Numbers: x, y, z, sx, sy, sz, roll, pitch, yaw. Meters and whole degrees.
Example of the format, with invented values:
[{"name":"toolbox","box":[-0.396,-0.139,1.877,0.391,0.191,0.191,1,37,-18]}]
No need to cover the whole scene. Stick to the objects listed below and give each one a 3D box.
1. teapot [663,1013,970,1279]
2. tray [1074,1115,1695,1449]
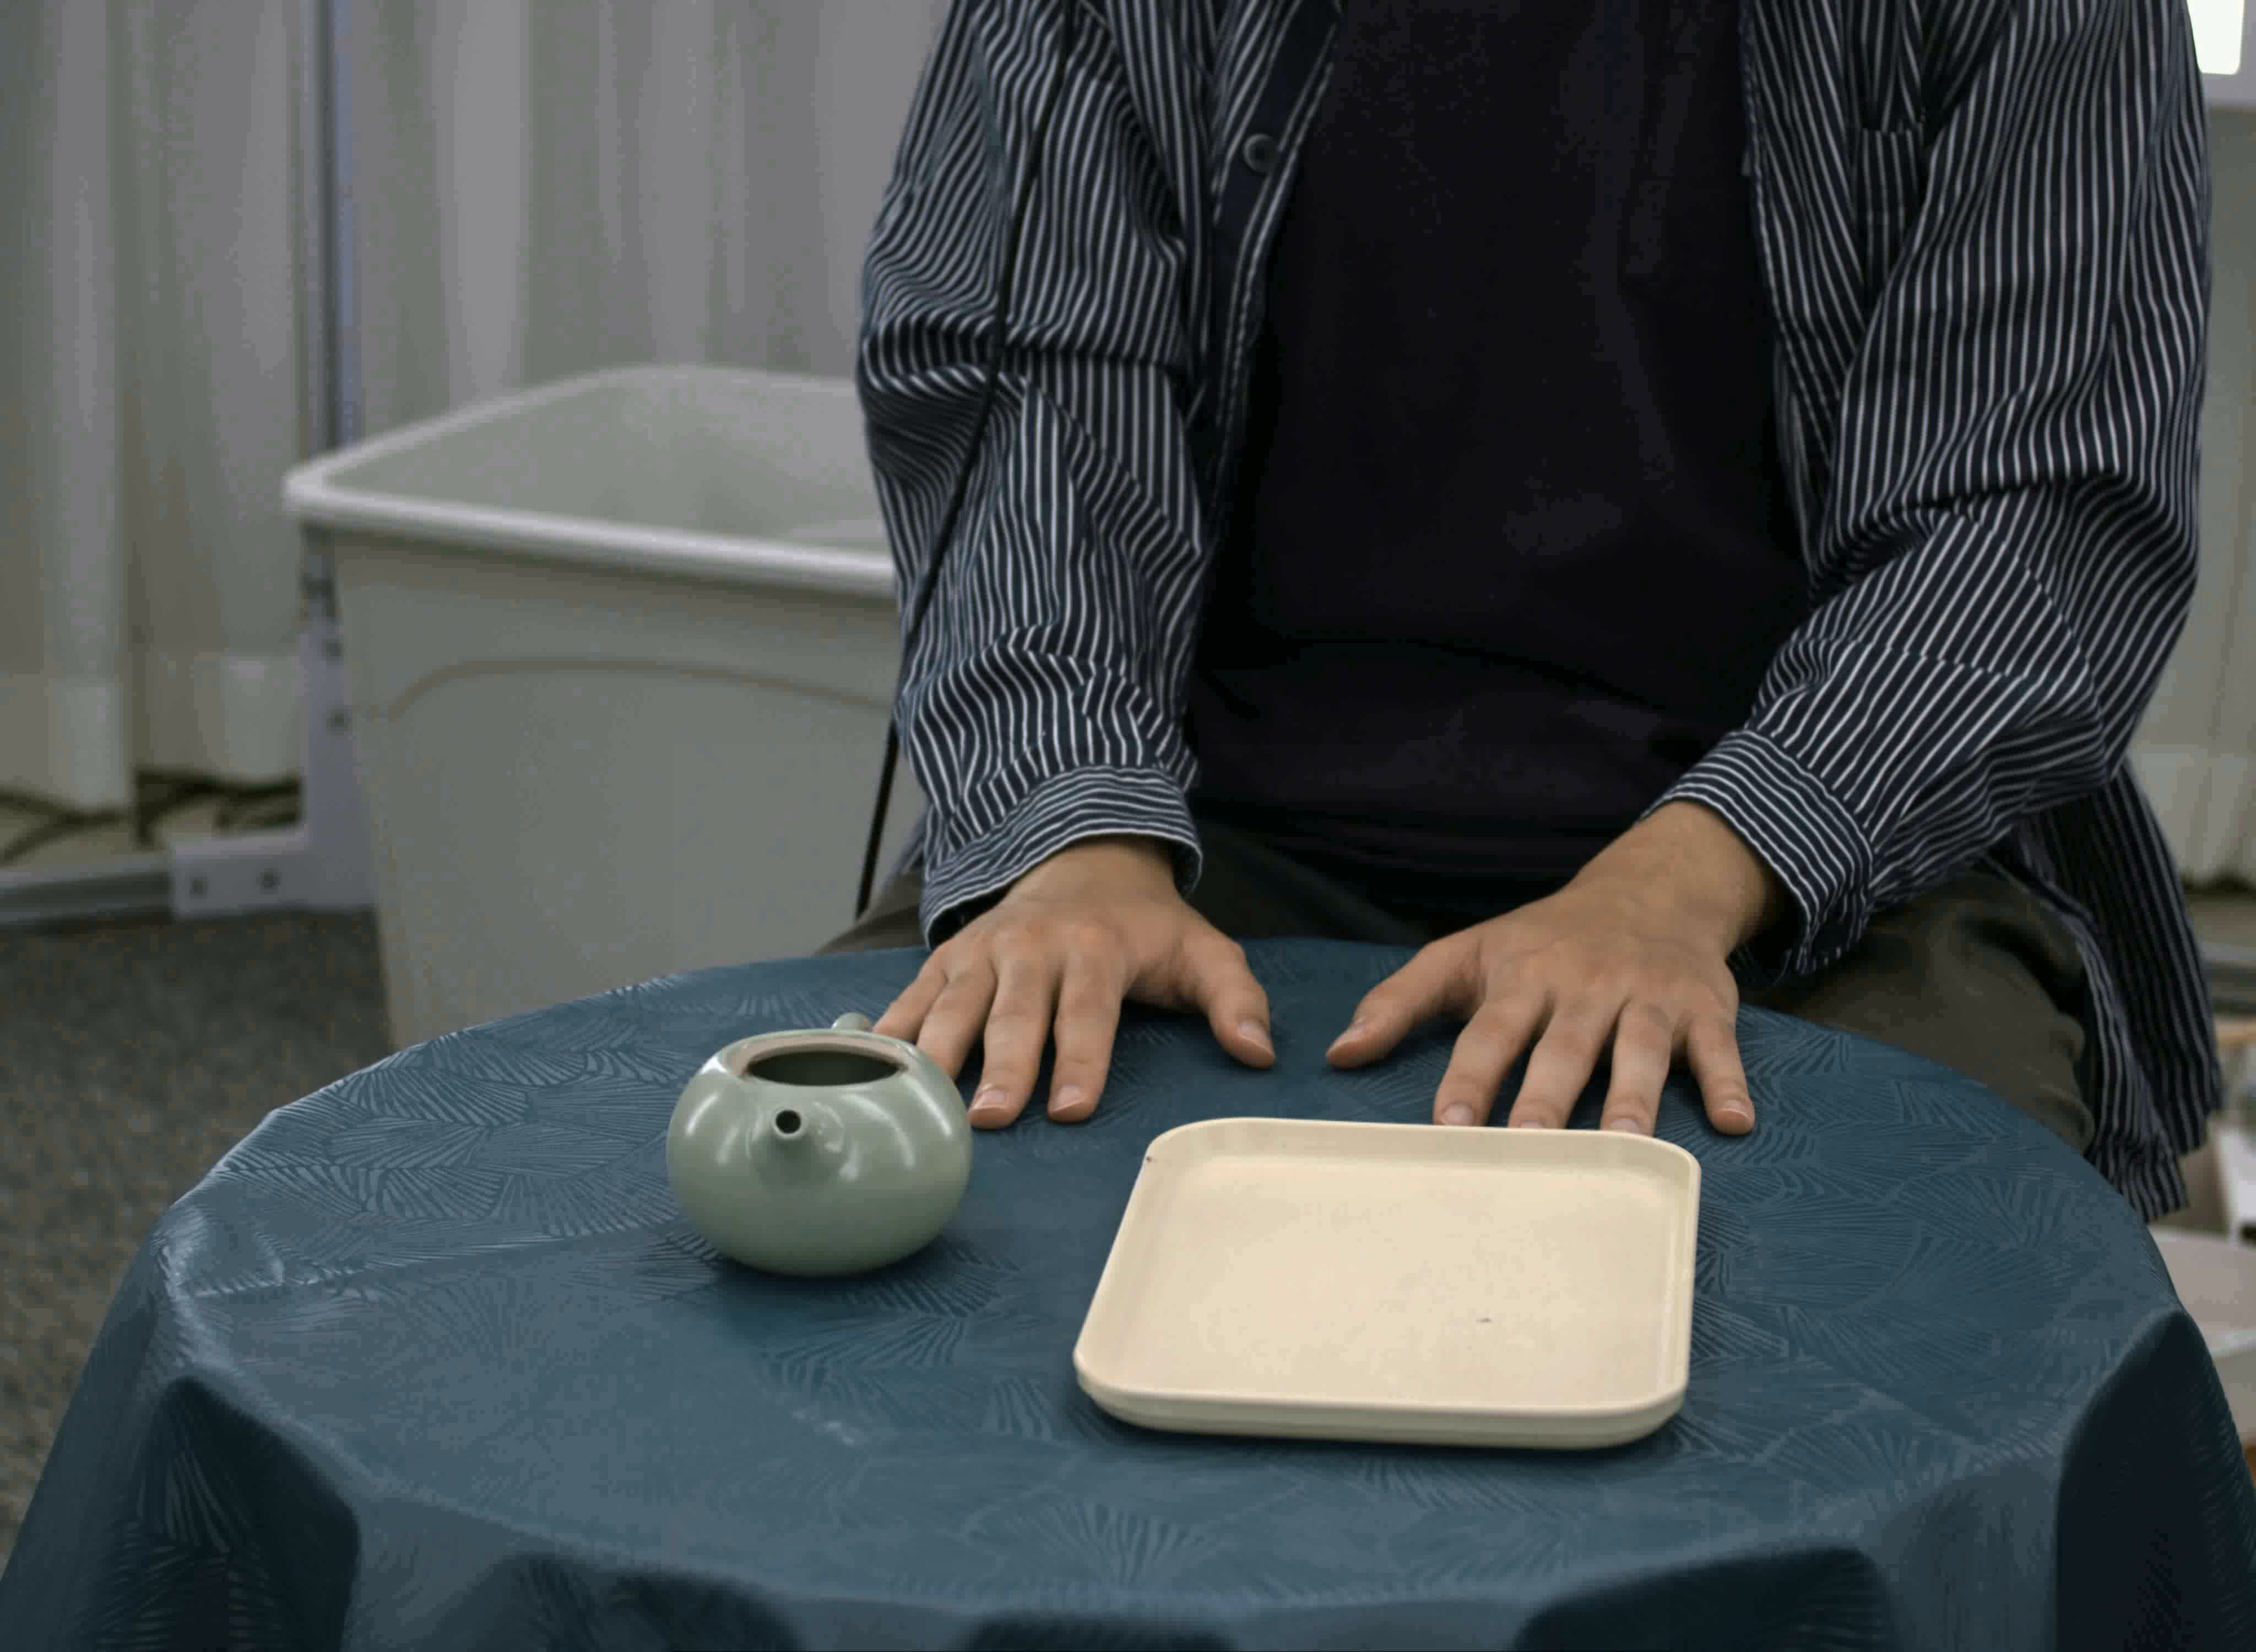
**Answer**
[{"name":"teapot","box":[-0.091,0.095,1.579,0.091,0.061,0.128,2,15,12]},{"name":"tray","box":[0.079,0.131,1.530,0.170,0.017,0.239,3,15,6]}]
